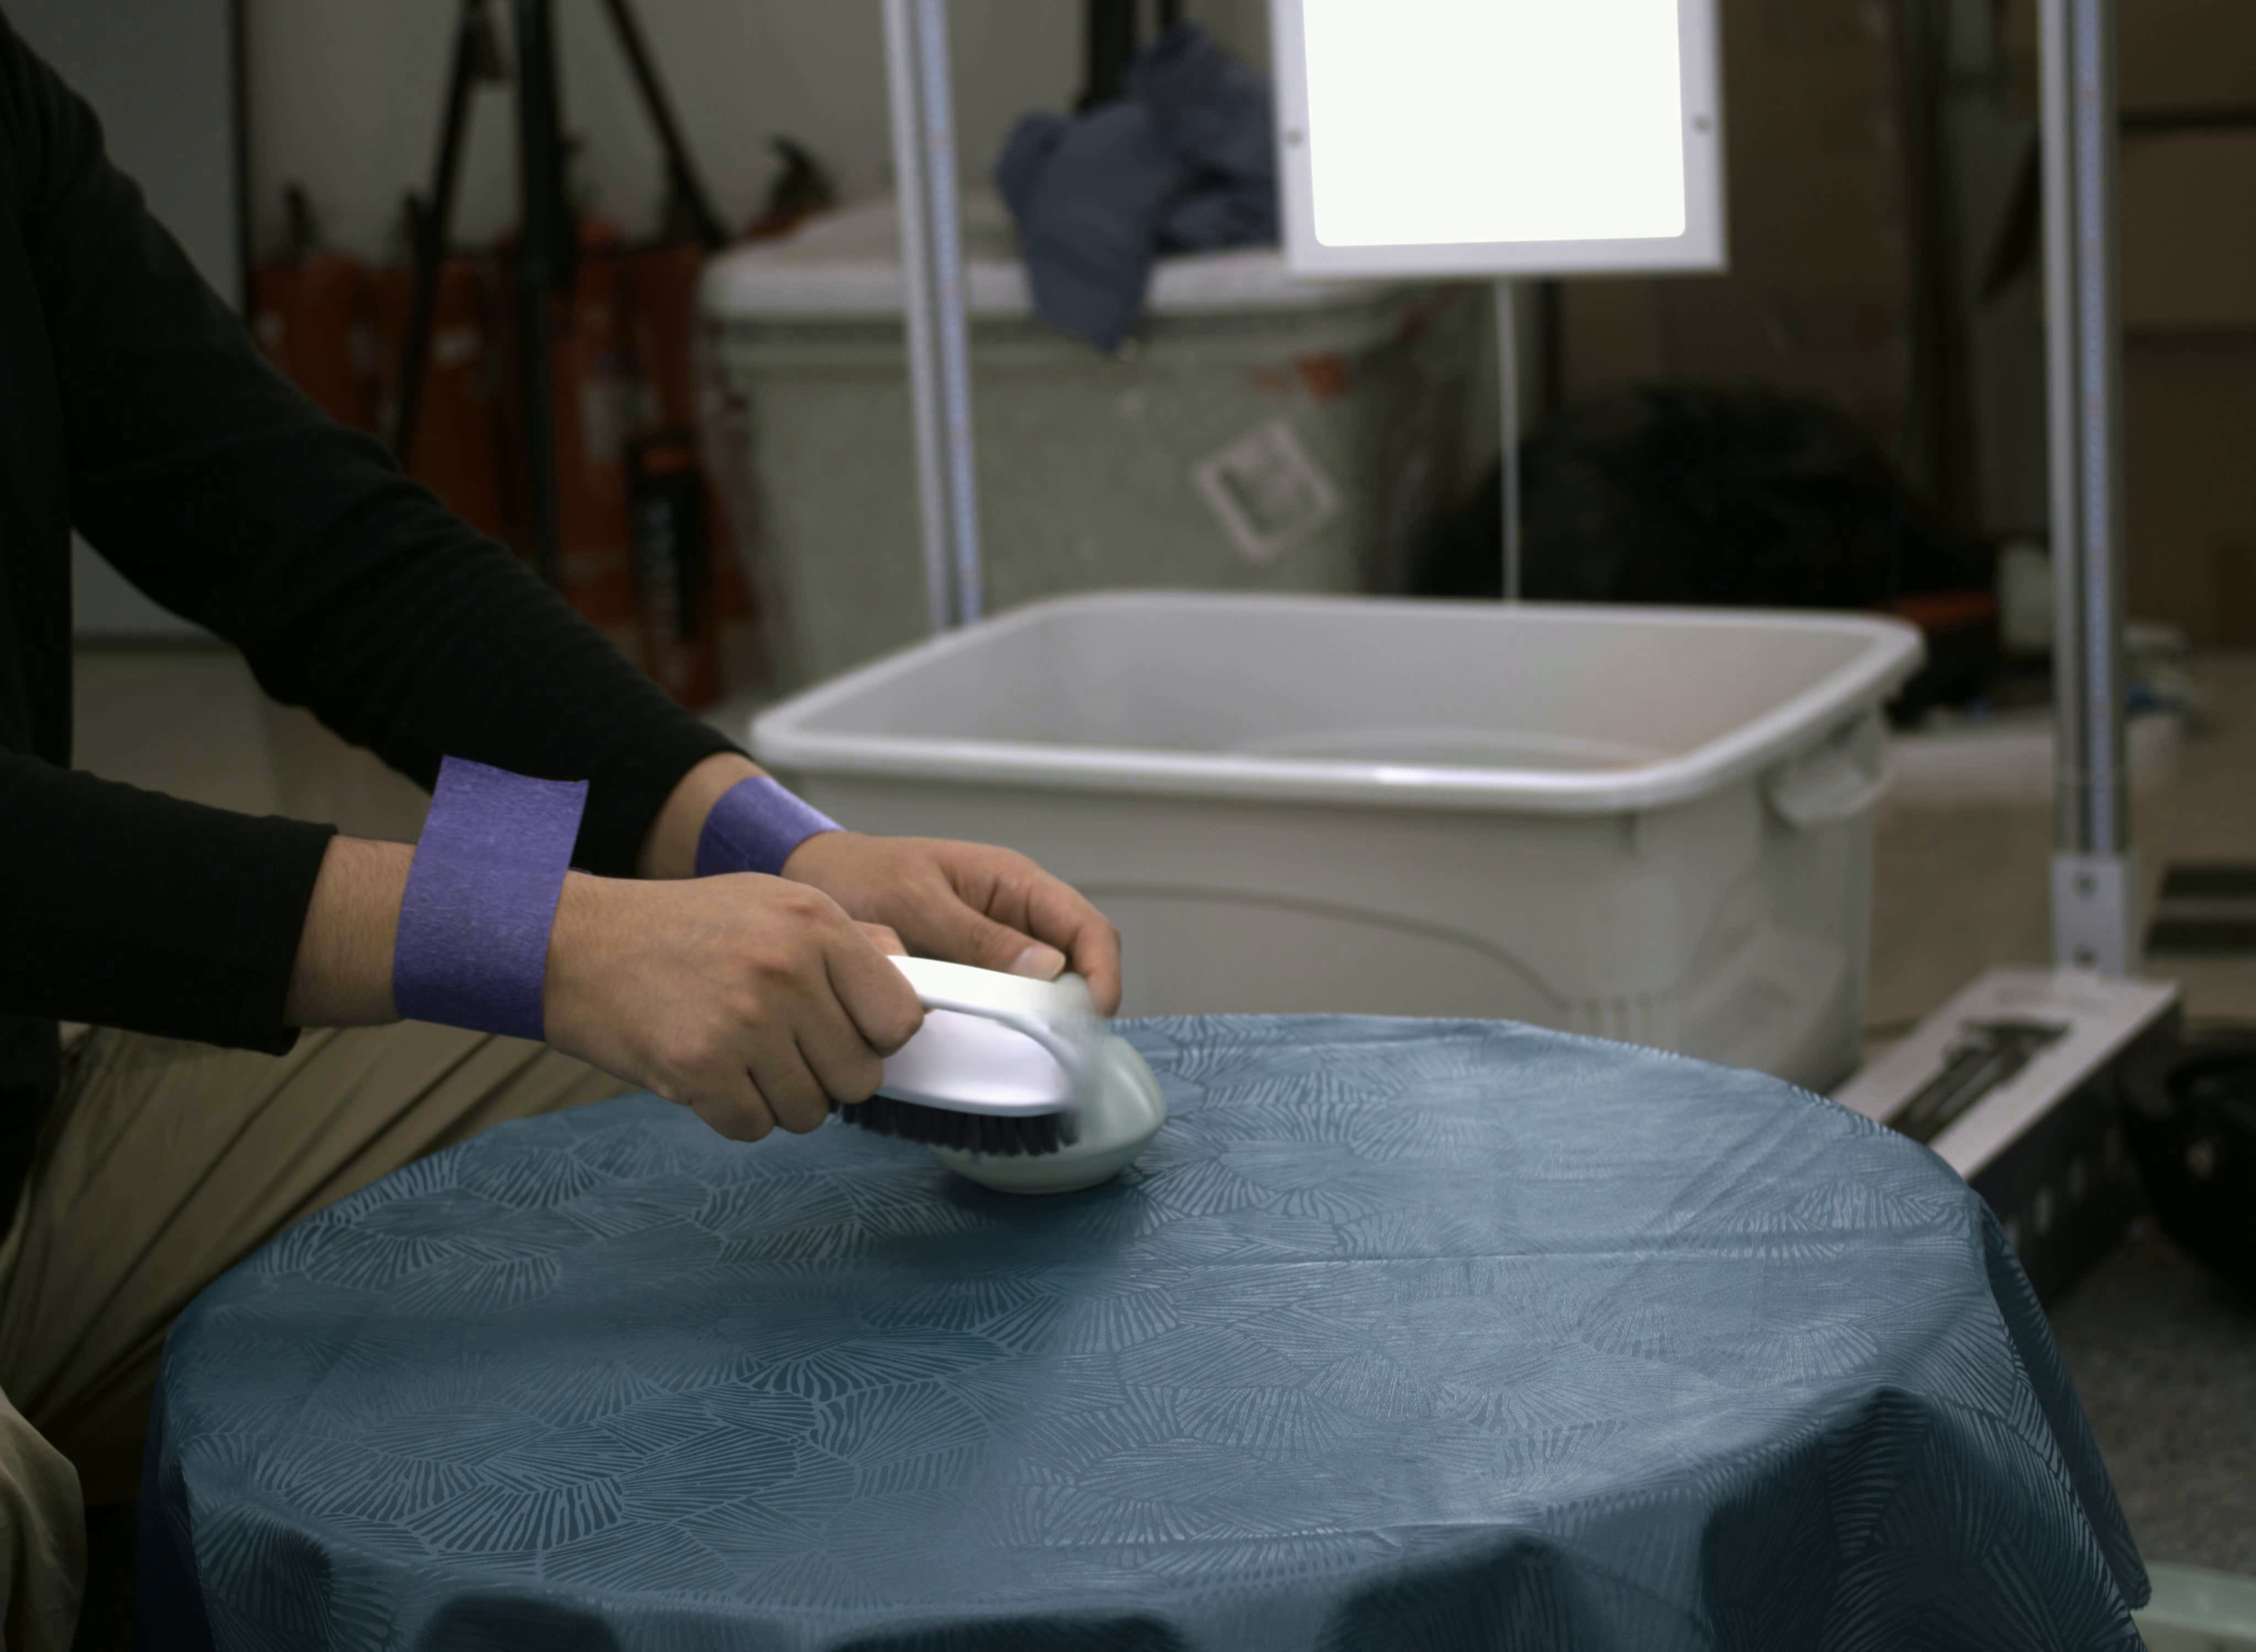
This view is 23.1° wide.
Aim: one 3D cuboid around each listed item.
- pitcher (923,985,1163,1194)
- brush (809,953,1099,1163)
[{"bbox_3d":[-0.029,0.093,1.930,0.086,0.060,0.107,-1,10,11],"label":"pitcher"},{"bbox_3d":[-0.059,0.070,1.847,0.100,0.072,0.050,12,60,11],"label":"brush"}]
